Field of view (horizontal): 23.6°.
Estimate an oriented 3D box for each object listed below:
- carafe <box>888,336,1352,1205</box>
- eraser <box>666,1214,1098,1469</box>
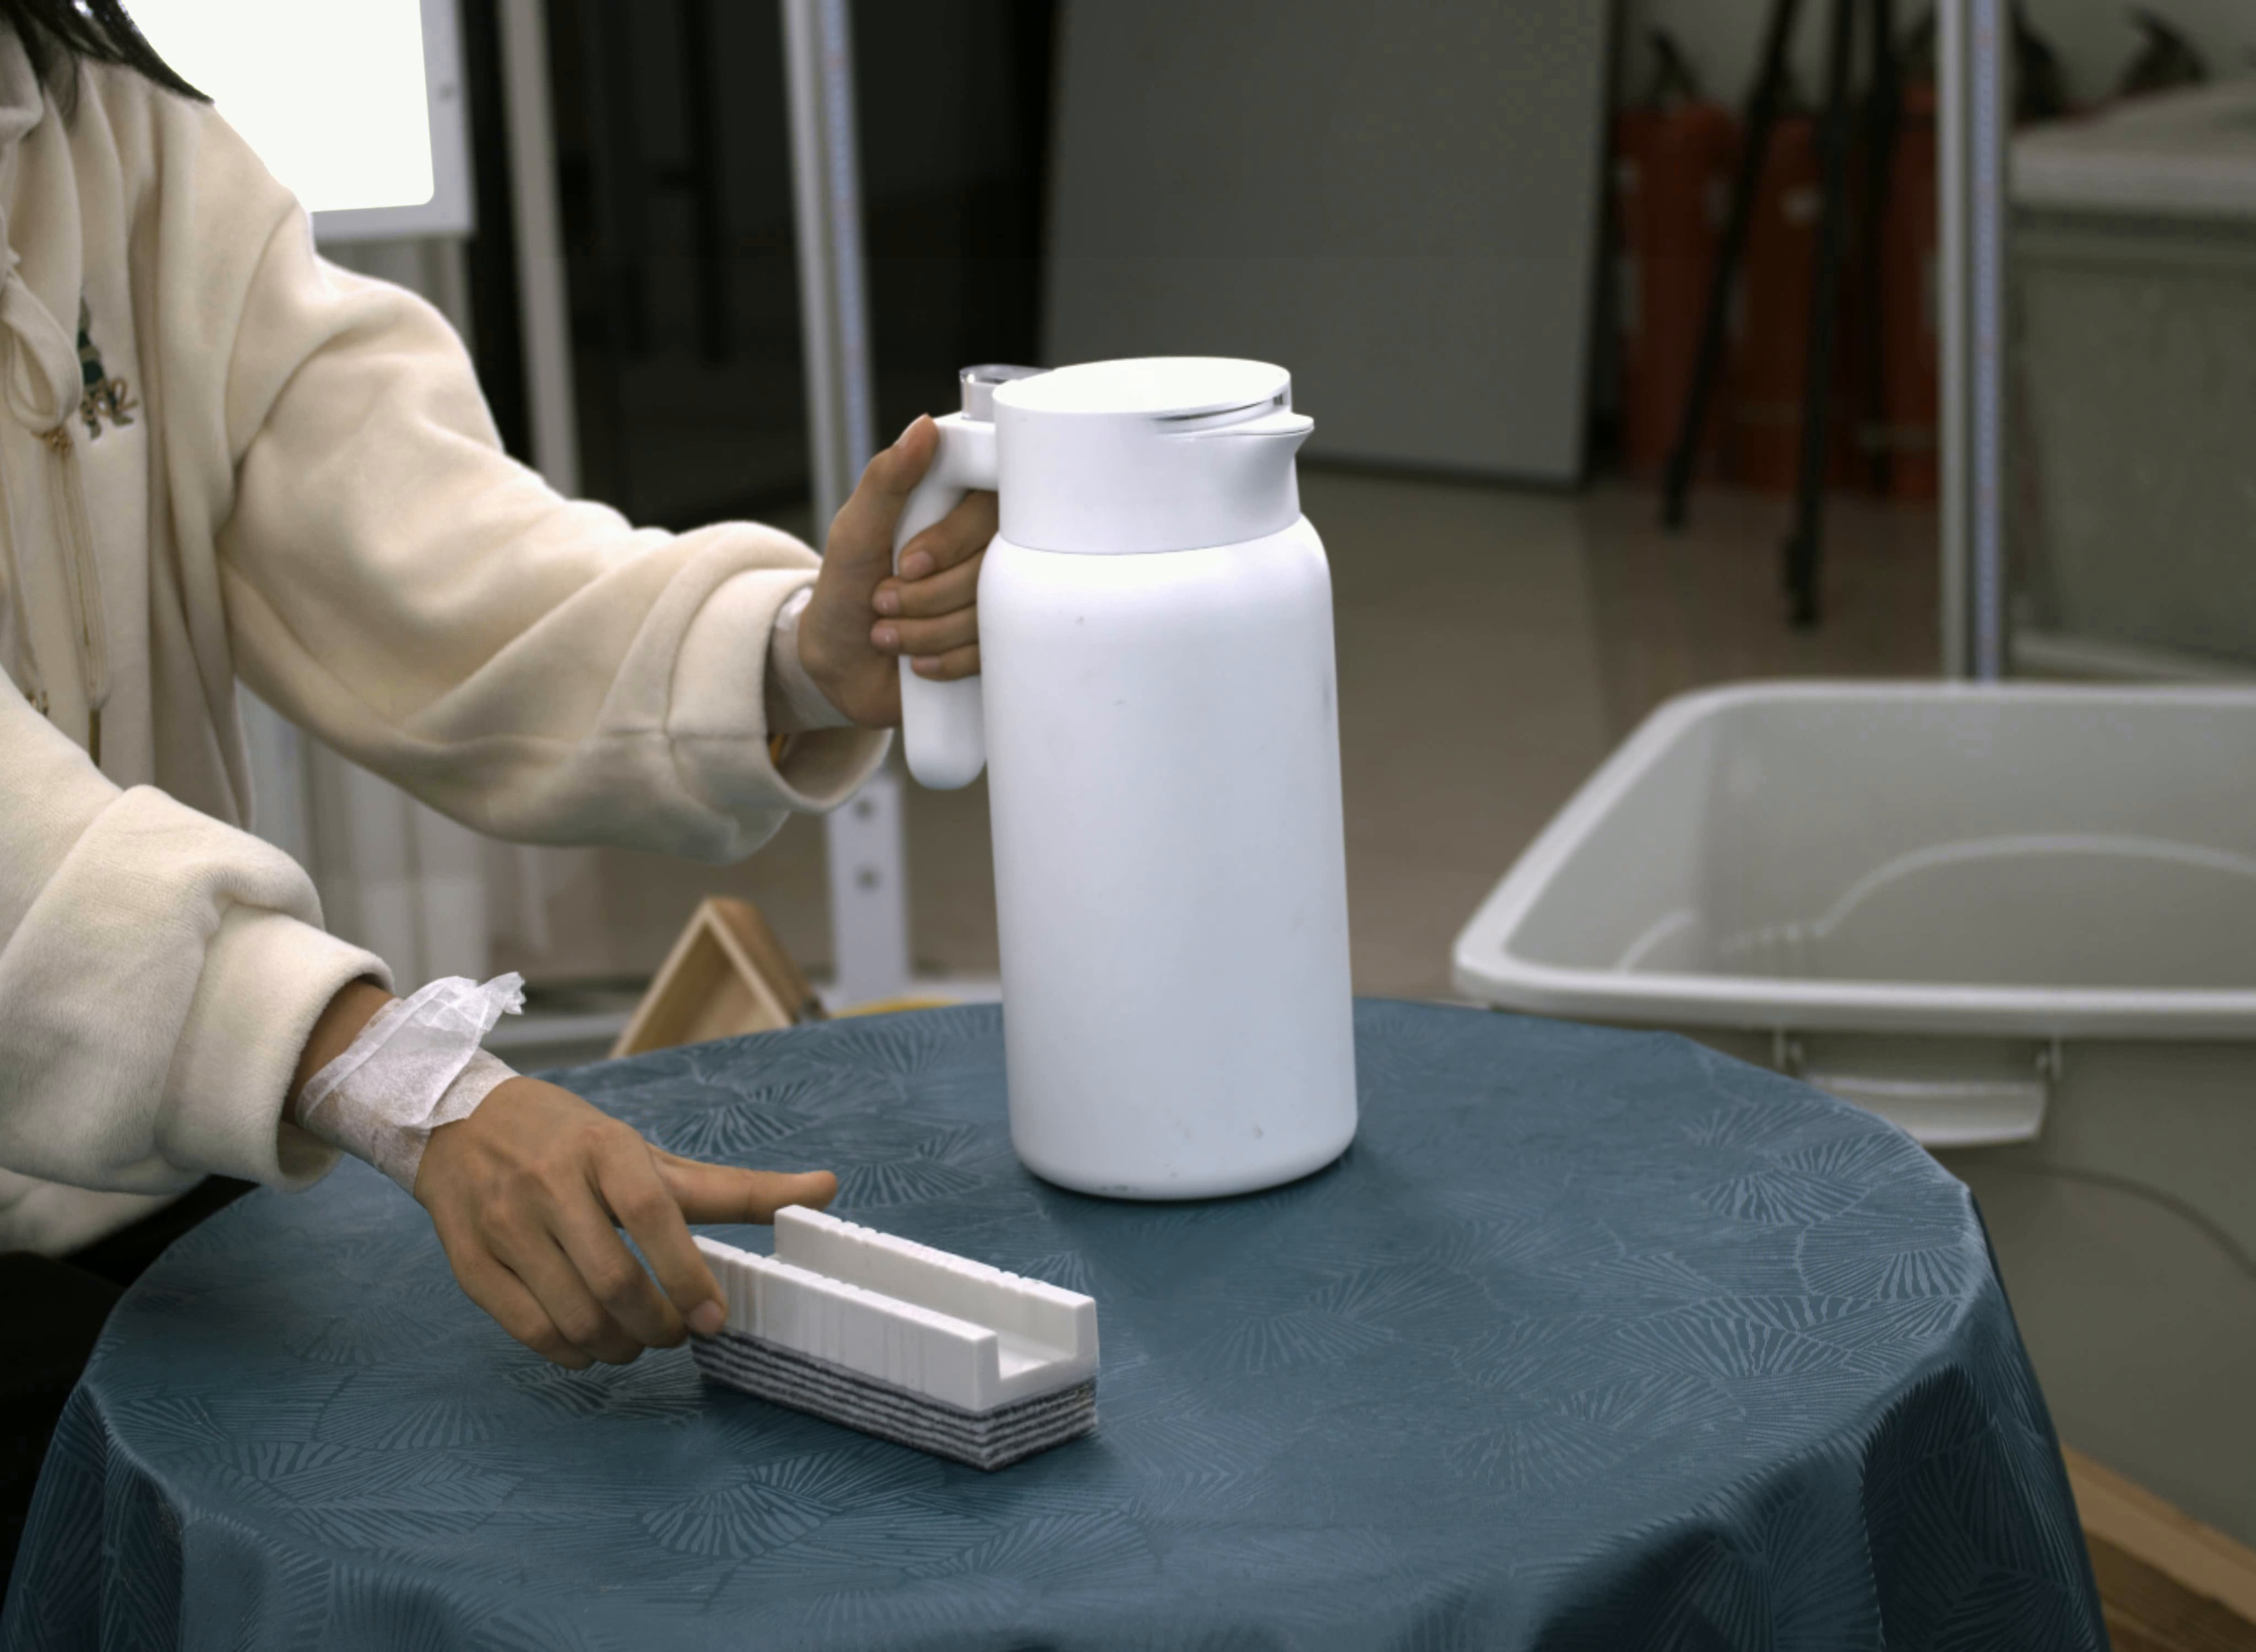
[{"bbox_3d":[-0.003,-0.020,1.783,0.174,0.272,0.121,7,19,40],"label":"carafe"},{"bbox_3d":[-0.072,0.149,1.578,0.135,0.047,0.049,10,21,44],"label":"eraser"}]
